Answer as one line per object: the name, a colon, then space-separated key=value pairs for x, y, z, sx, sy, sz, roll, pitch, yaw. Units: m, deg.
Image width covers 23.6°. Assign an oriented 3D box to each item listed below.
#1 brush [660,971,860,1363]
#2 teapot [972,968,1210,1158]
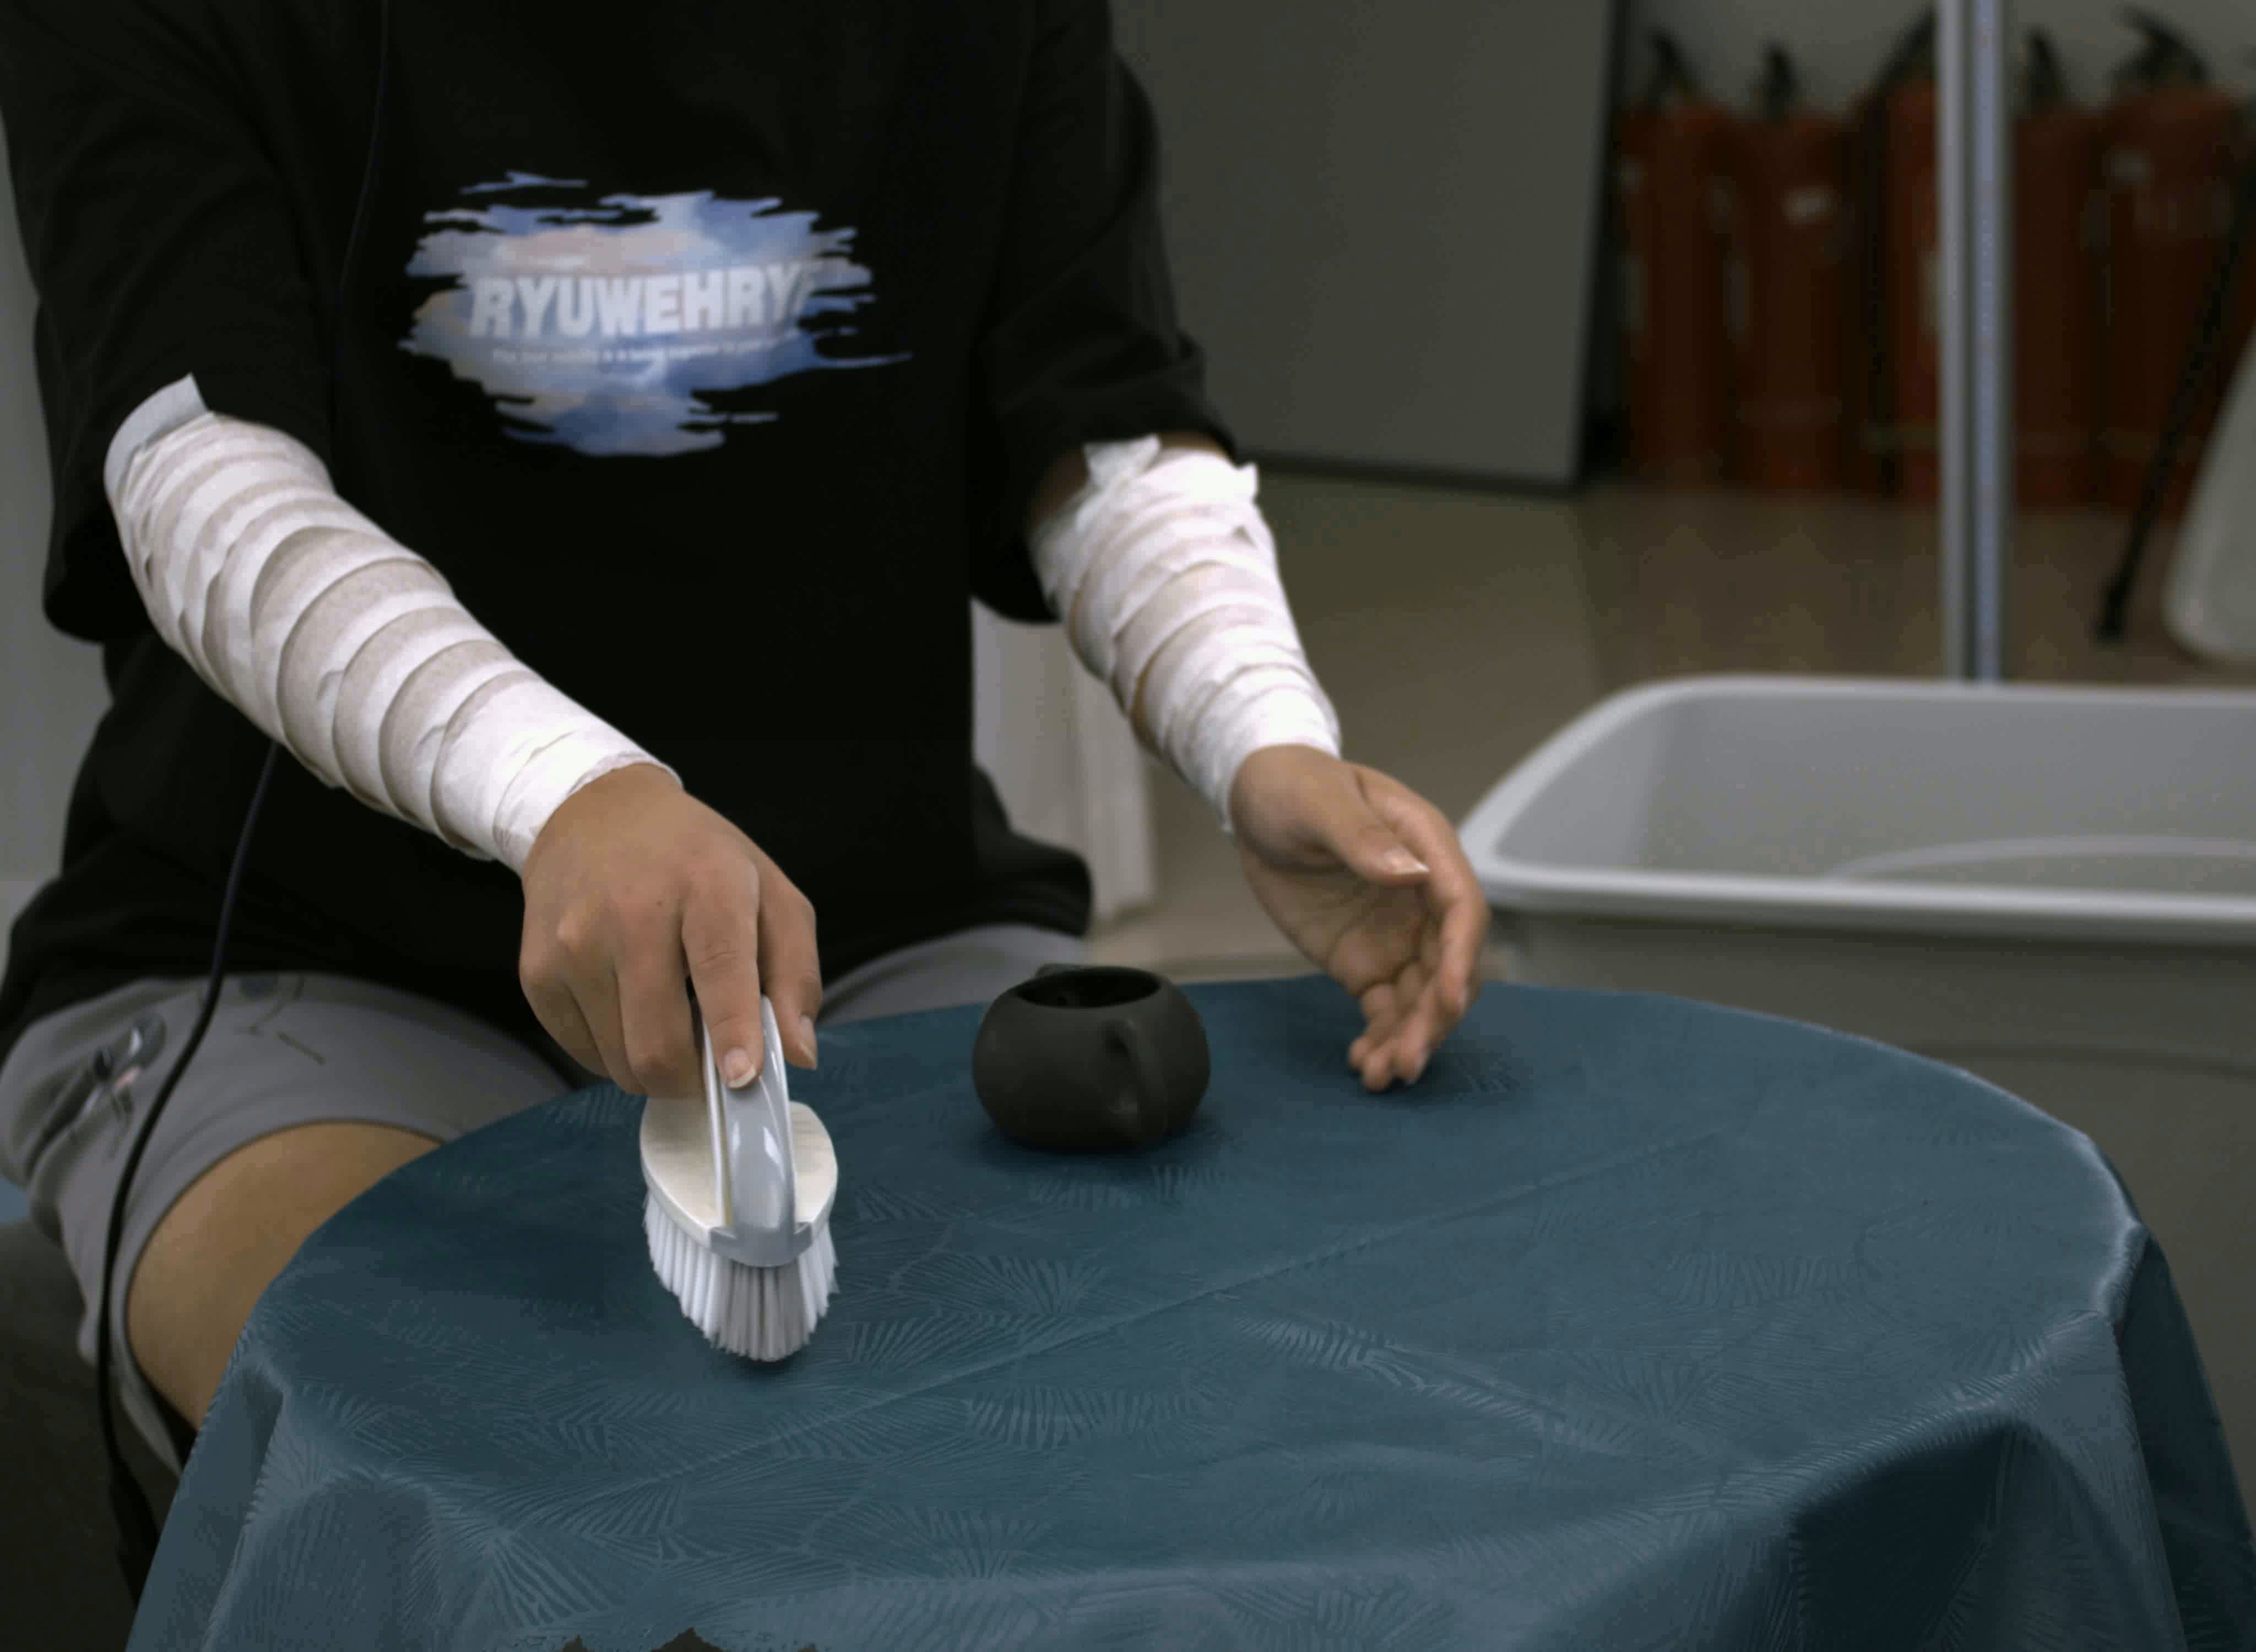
brush: x=-0.117 y=0.101 z=1.693 sx=0.060 sy=0.095 sz=0.176 roll=-8 pitch=15 yaw=-4
teapot: x=-0.009 y=0.083 z=1.828 sx=0.081 sy=0.053 sz=0.115 roll=-7 pitch=12 yaw=-16
